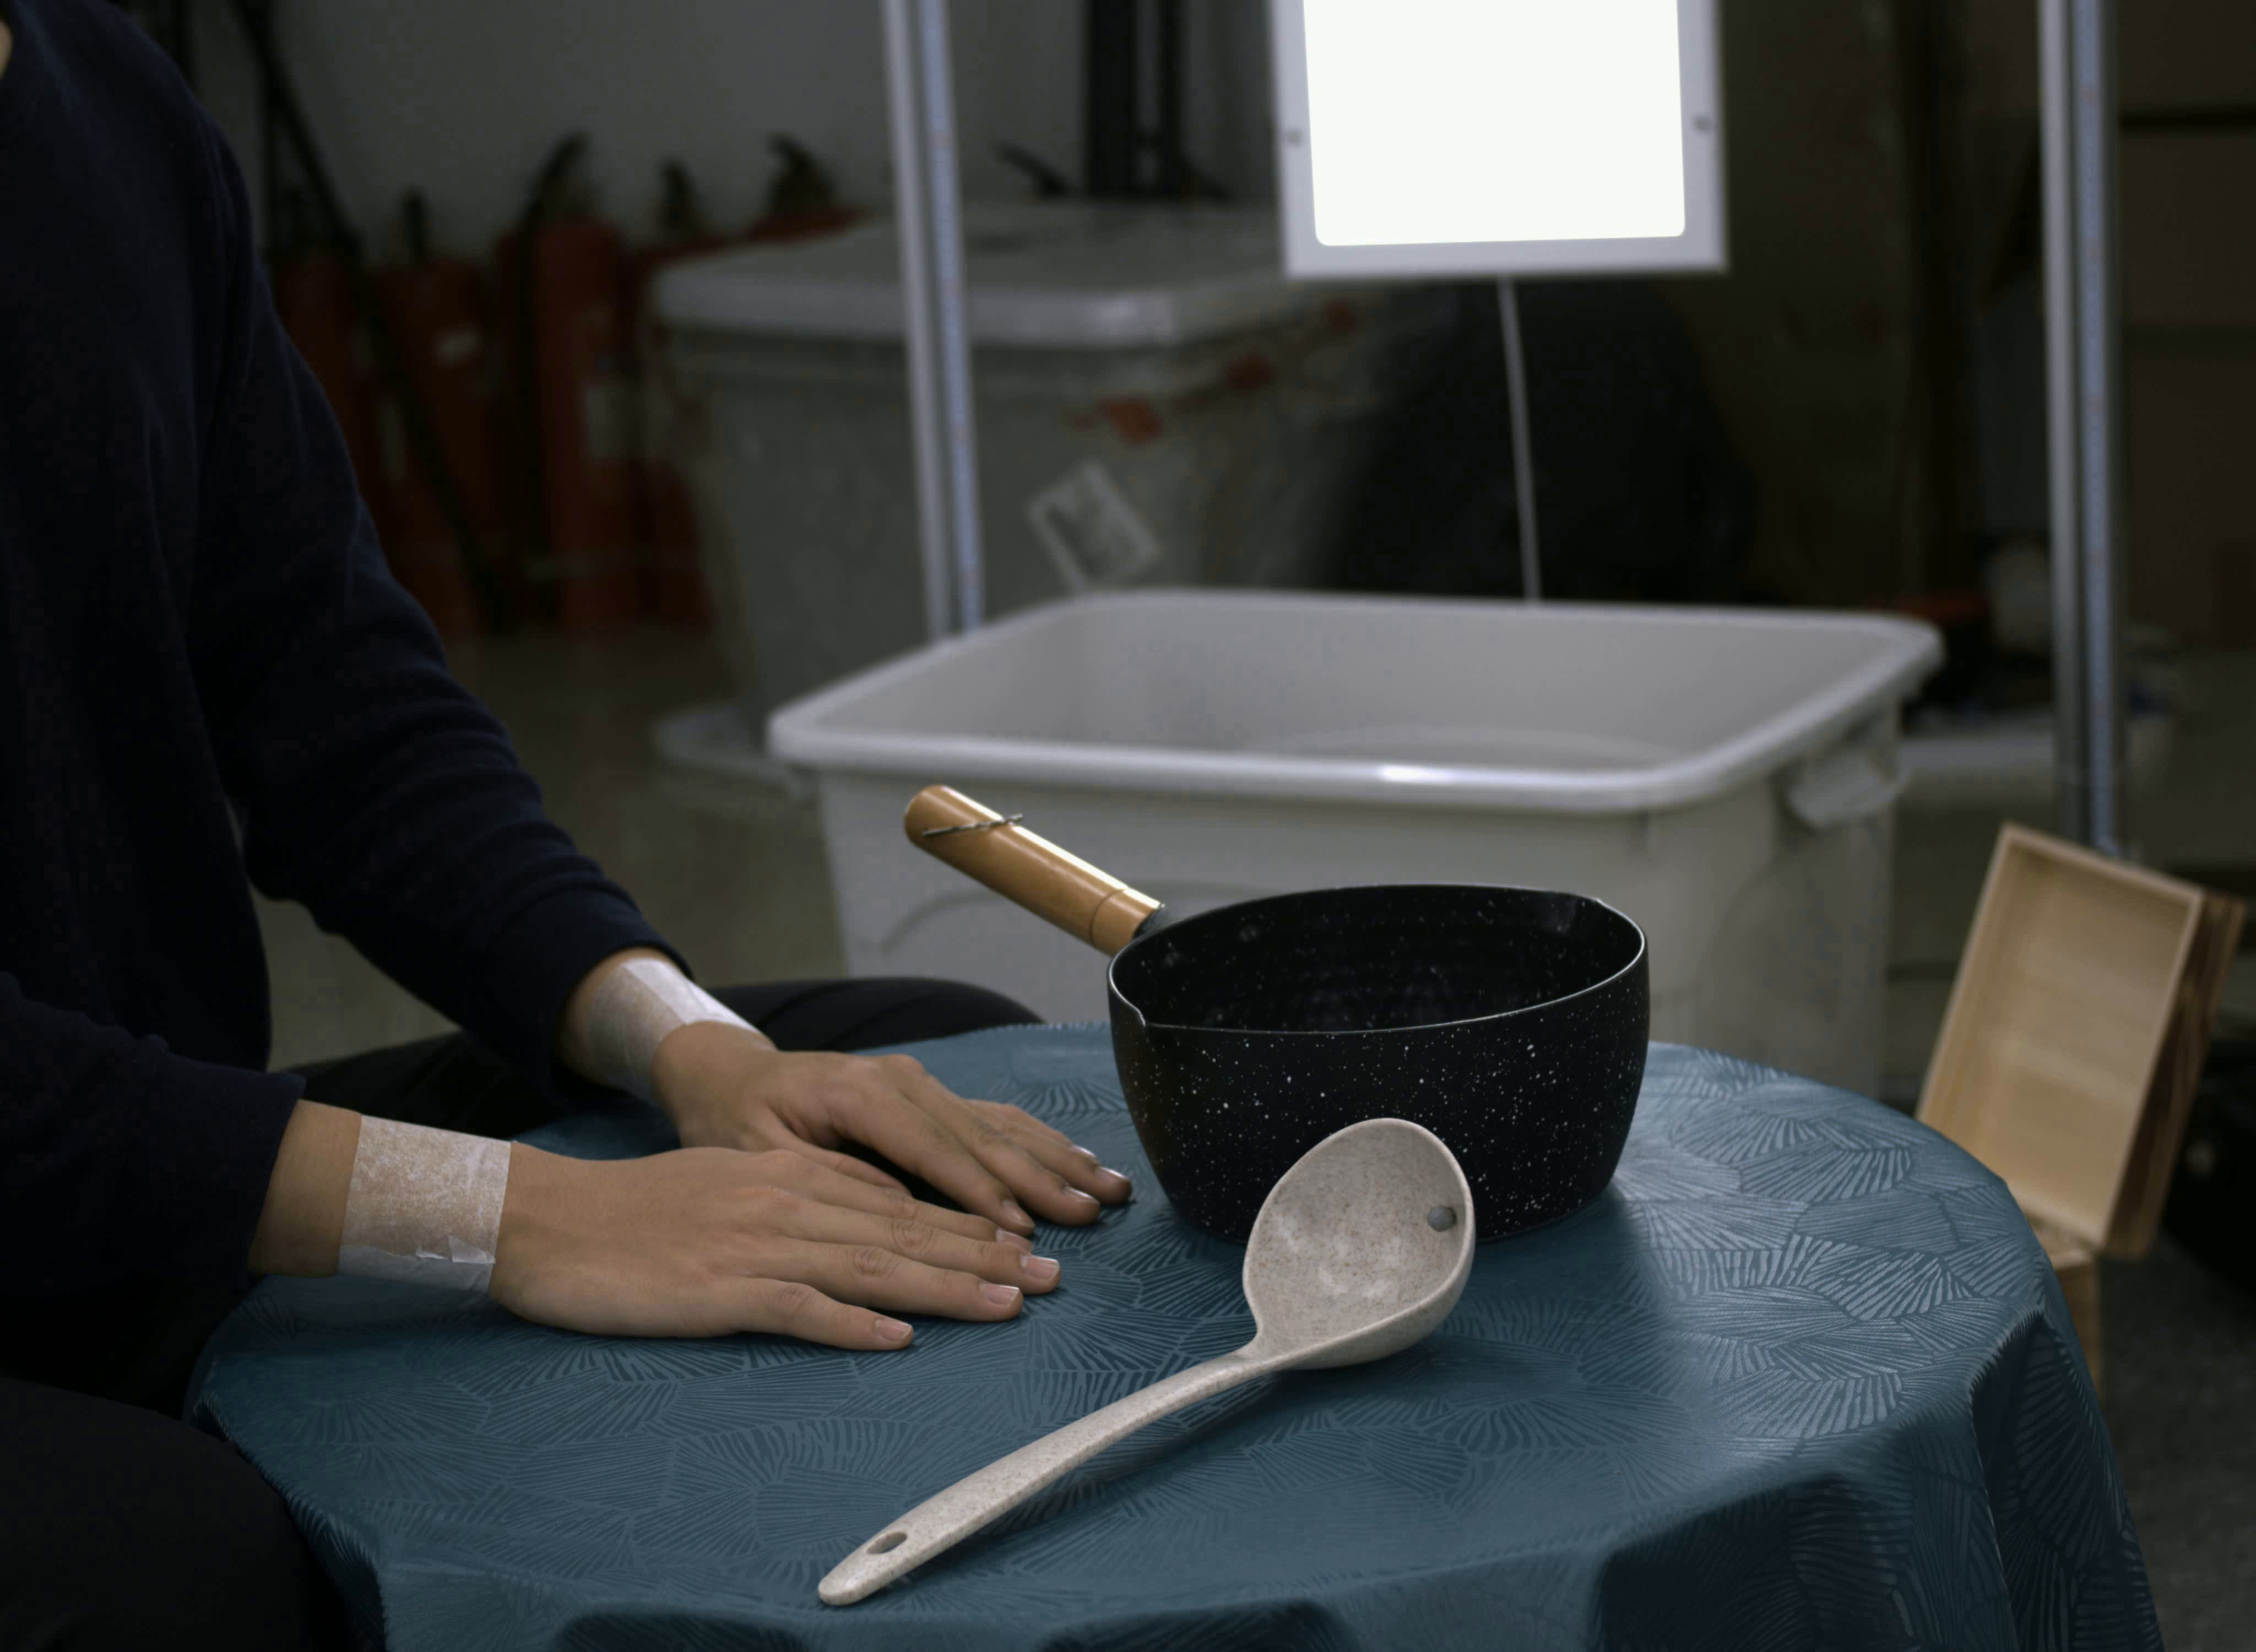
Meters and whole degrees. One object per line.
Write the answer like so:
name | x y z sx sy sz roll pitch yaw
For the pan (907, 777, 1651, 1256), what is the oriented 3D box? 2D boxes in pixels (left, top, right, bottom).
pan | 0.035 0.061 1.924 0.202 0.108 0.350 -17 20 -37

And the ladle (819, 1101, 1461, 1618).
ladle | -0.002 0.154 1.637 0.091 0.069 0.268 -11 8 46
